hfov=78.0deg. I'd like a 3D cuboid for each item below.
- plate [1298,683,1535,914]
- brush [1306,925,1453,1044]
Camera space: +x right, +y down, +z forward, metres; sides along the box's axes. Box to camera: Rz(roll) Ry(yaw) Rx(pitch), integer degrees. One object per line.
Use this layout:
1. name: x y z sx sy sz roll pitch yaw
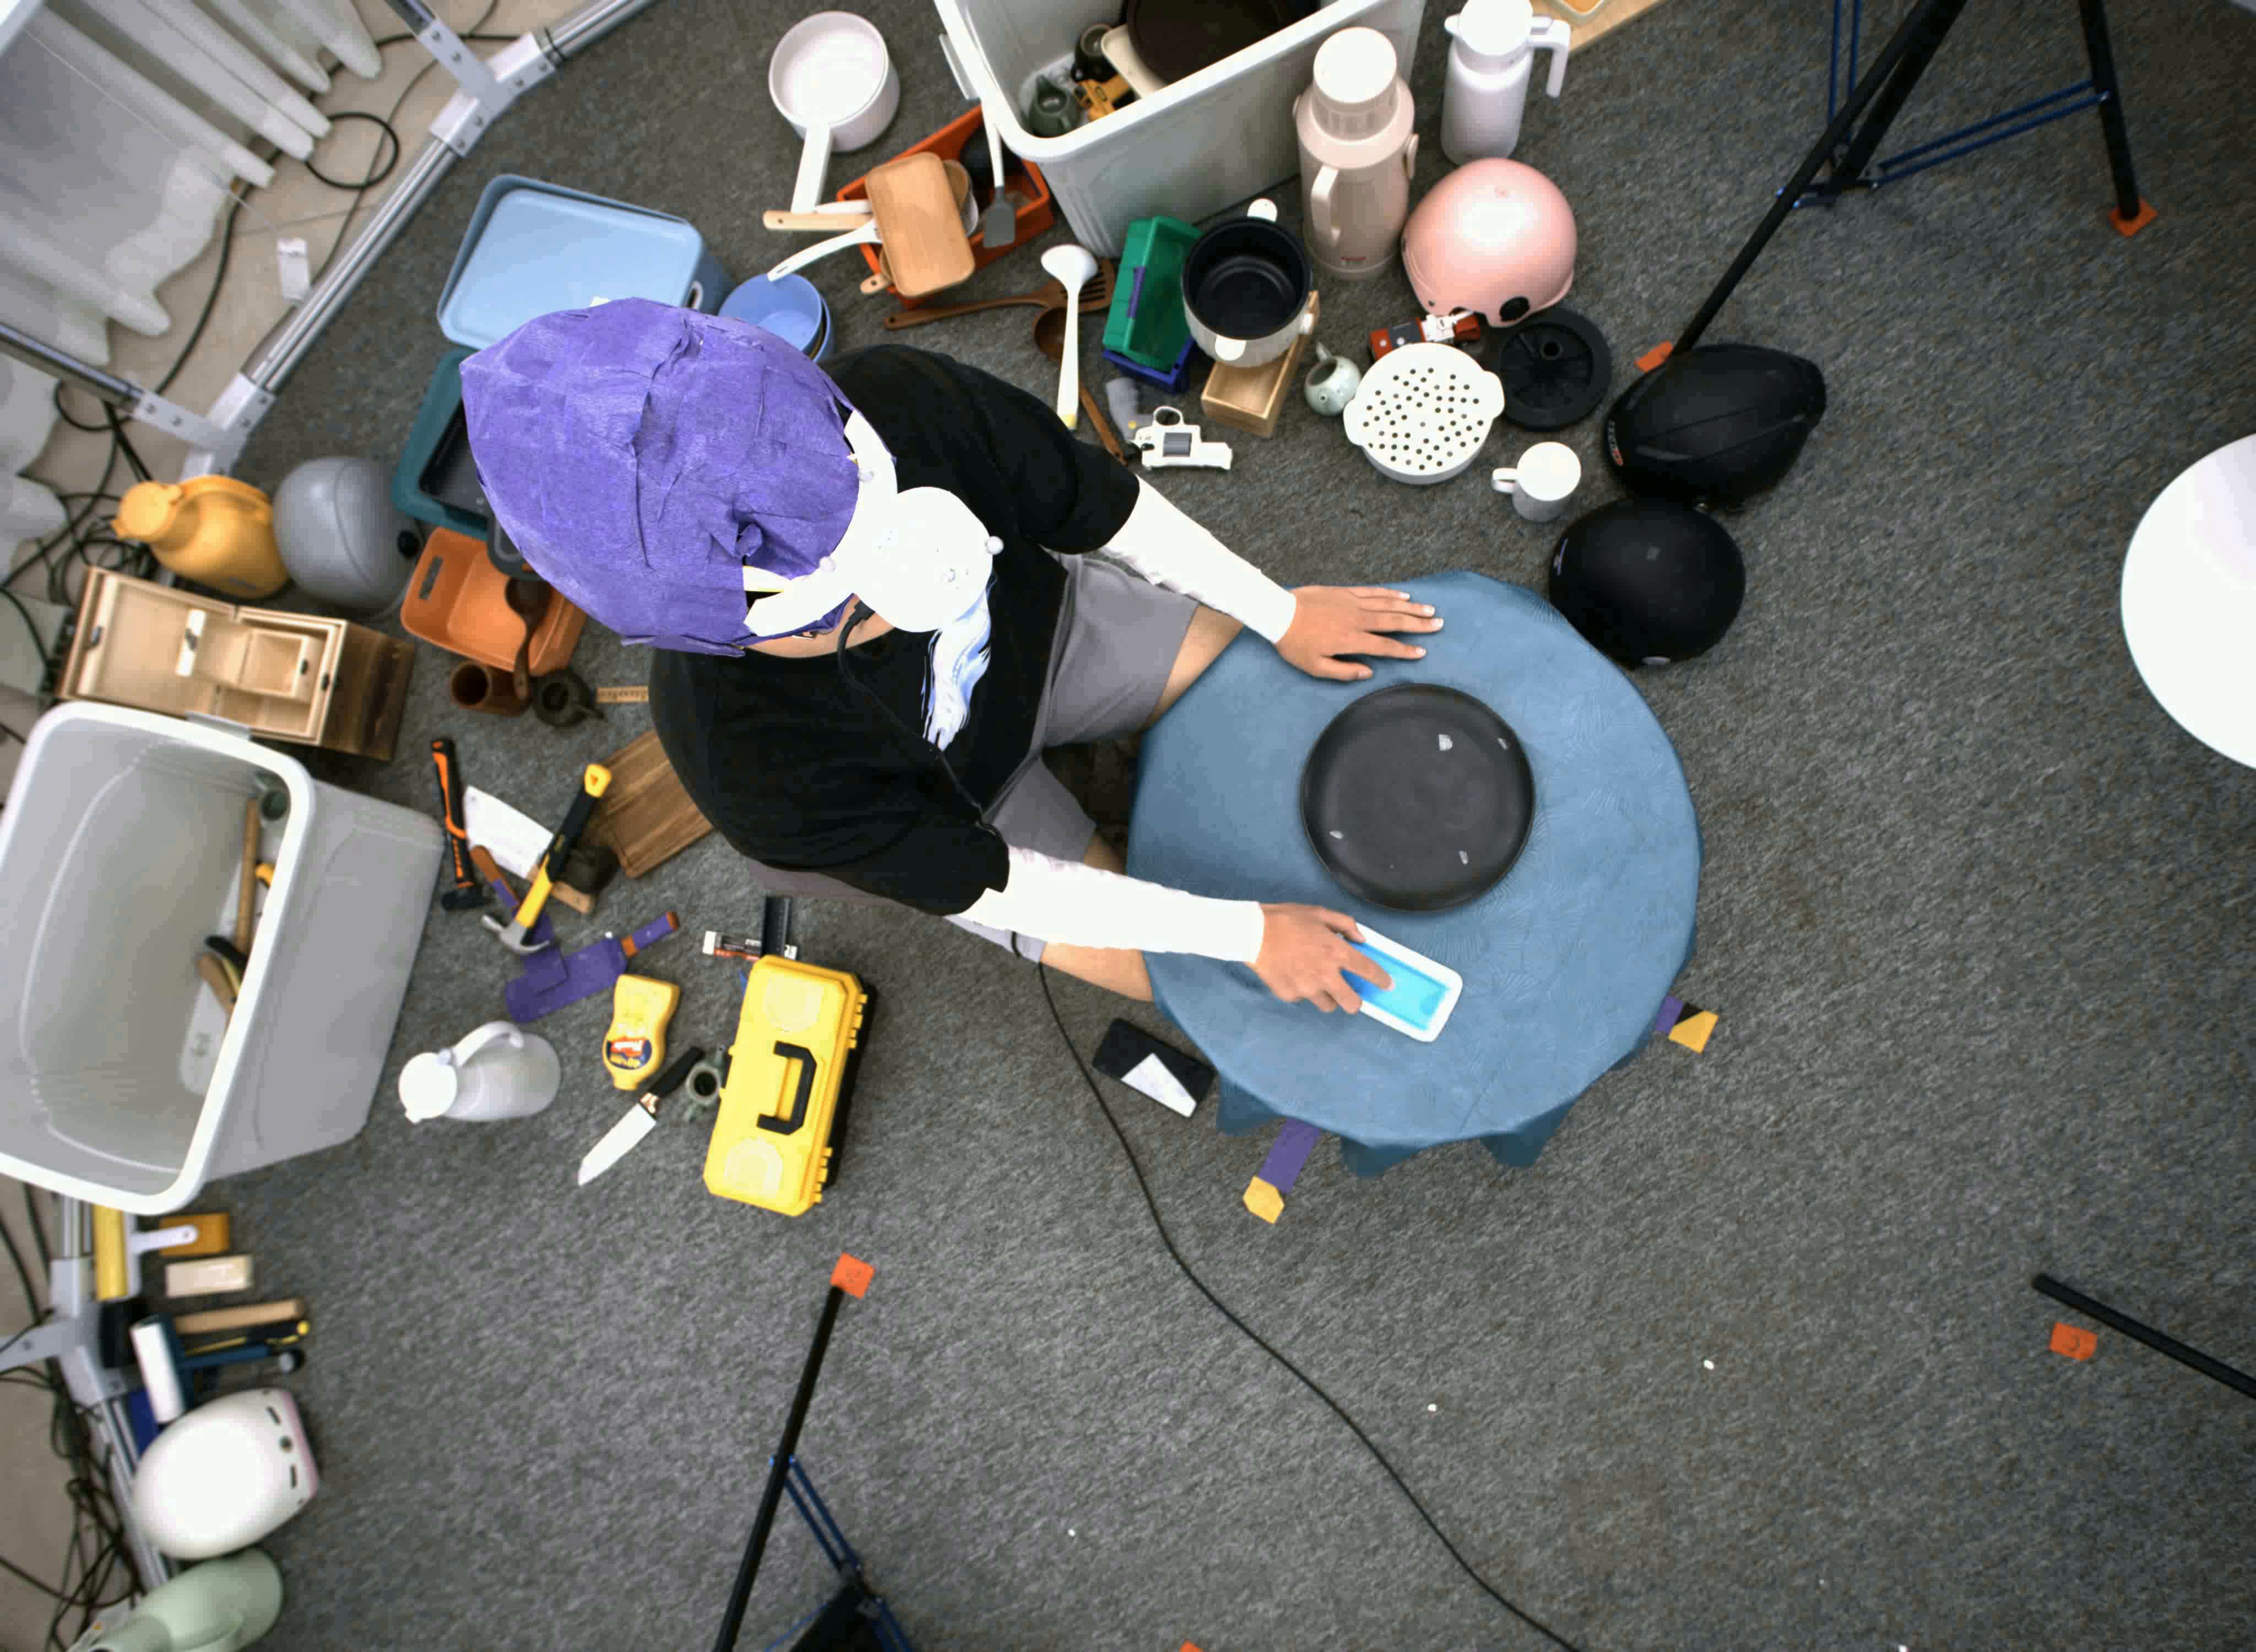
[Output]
1. plate: 0.302 -0.030 1.445 0.245 0.023 0.243 -1 87 11
2. brush: 0.260 0.160 1.424 0.144 0.056 0.083 26 87 8
